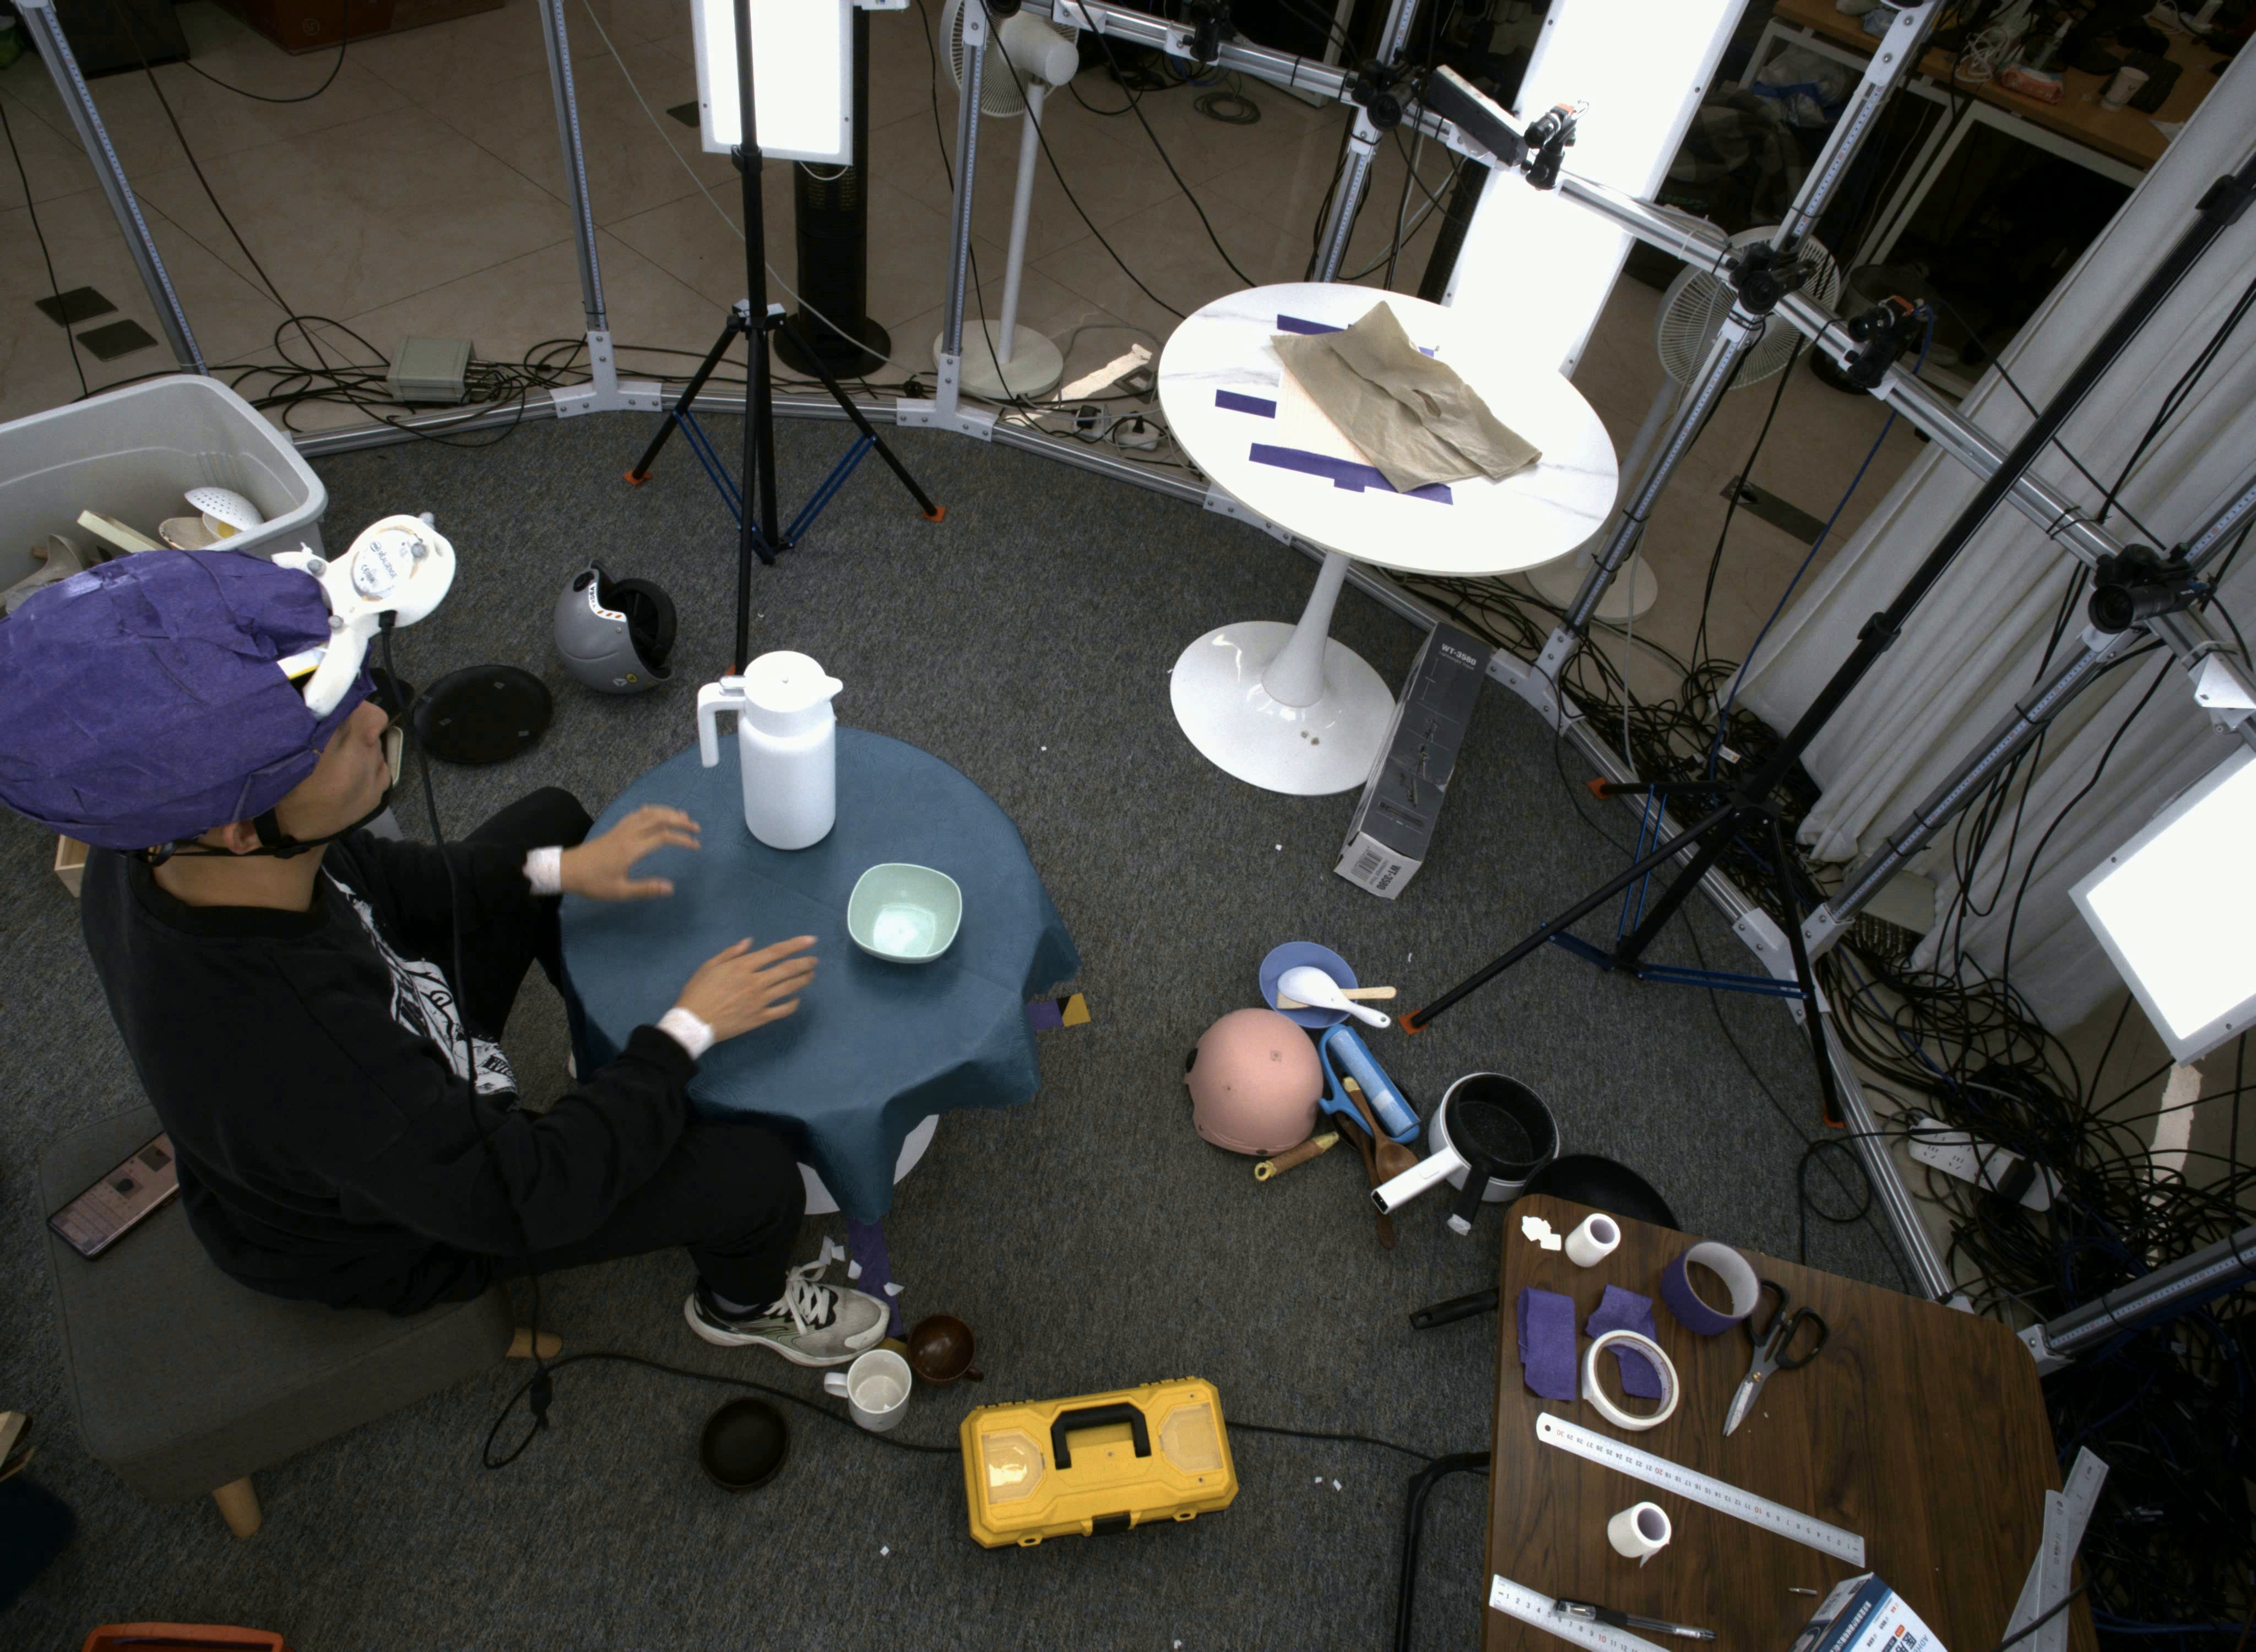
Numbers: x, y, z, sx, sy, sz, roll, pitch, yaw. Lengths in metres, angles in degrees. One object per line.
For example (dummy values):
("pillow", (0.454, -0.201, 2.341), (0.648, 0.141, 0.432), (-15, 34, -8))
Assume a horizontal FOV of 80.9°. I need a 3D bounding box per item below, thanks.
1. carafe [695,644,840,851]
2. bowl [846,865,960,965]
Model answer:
("carafe", (-0.445, -0.093, 1.613), (0.173, 0.274, 0.121), (-5, 55, -16))
("bowl", (-0.282, 0.121, 1.634), (0.151, 0.060, 0.149), (8, 52, -8))
